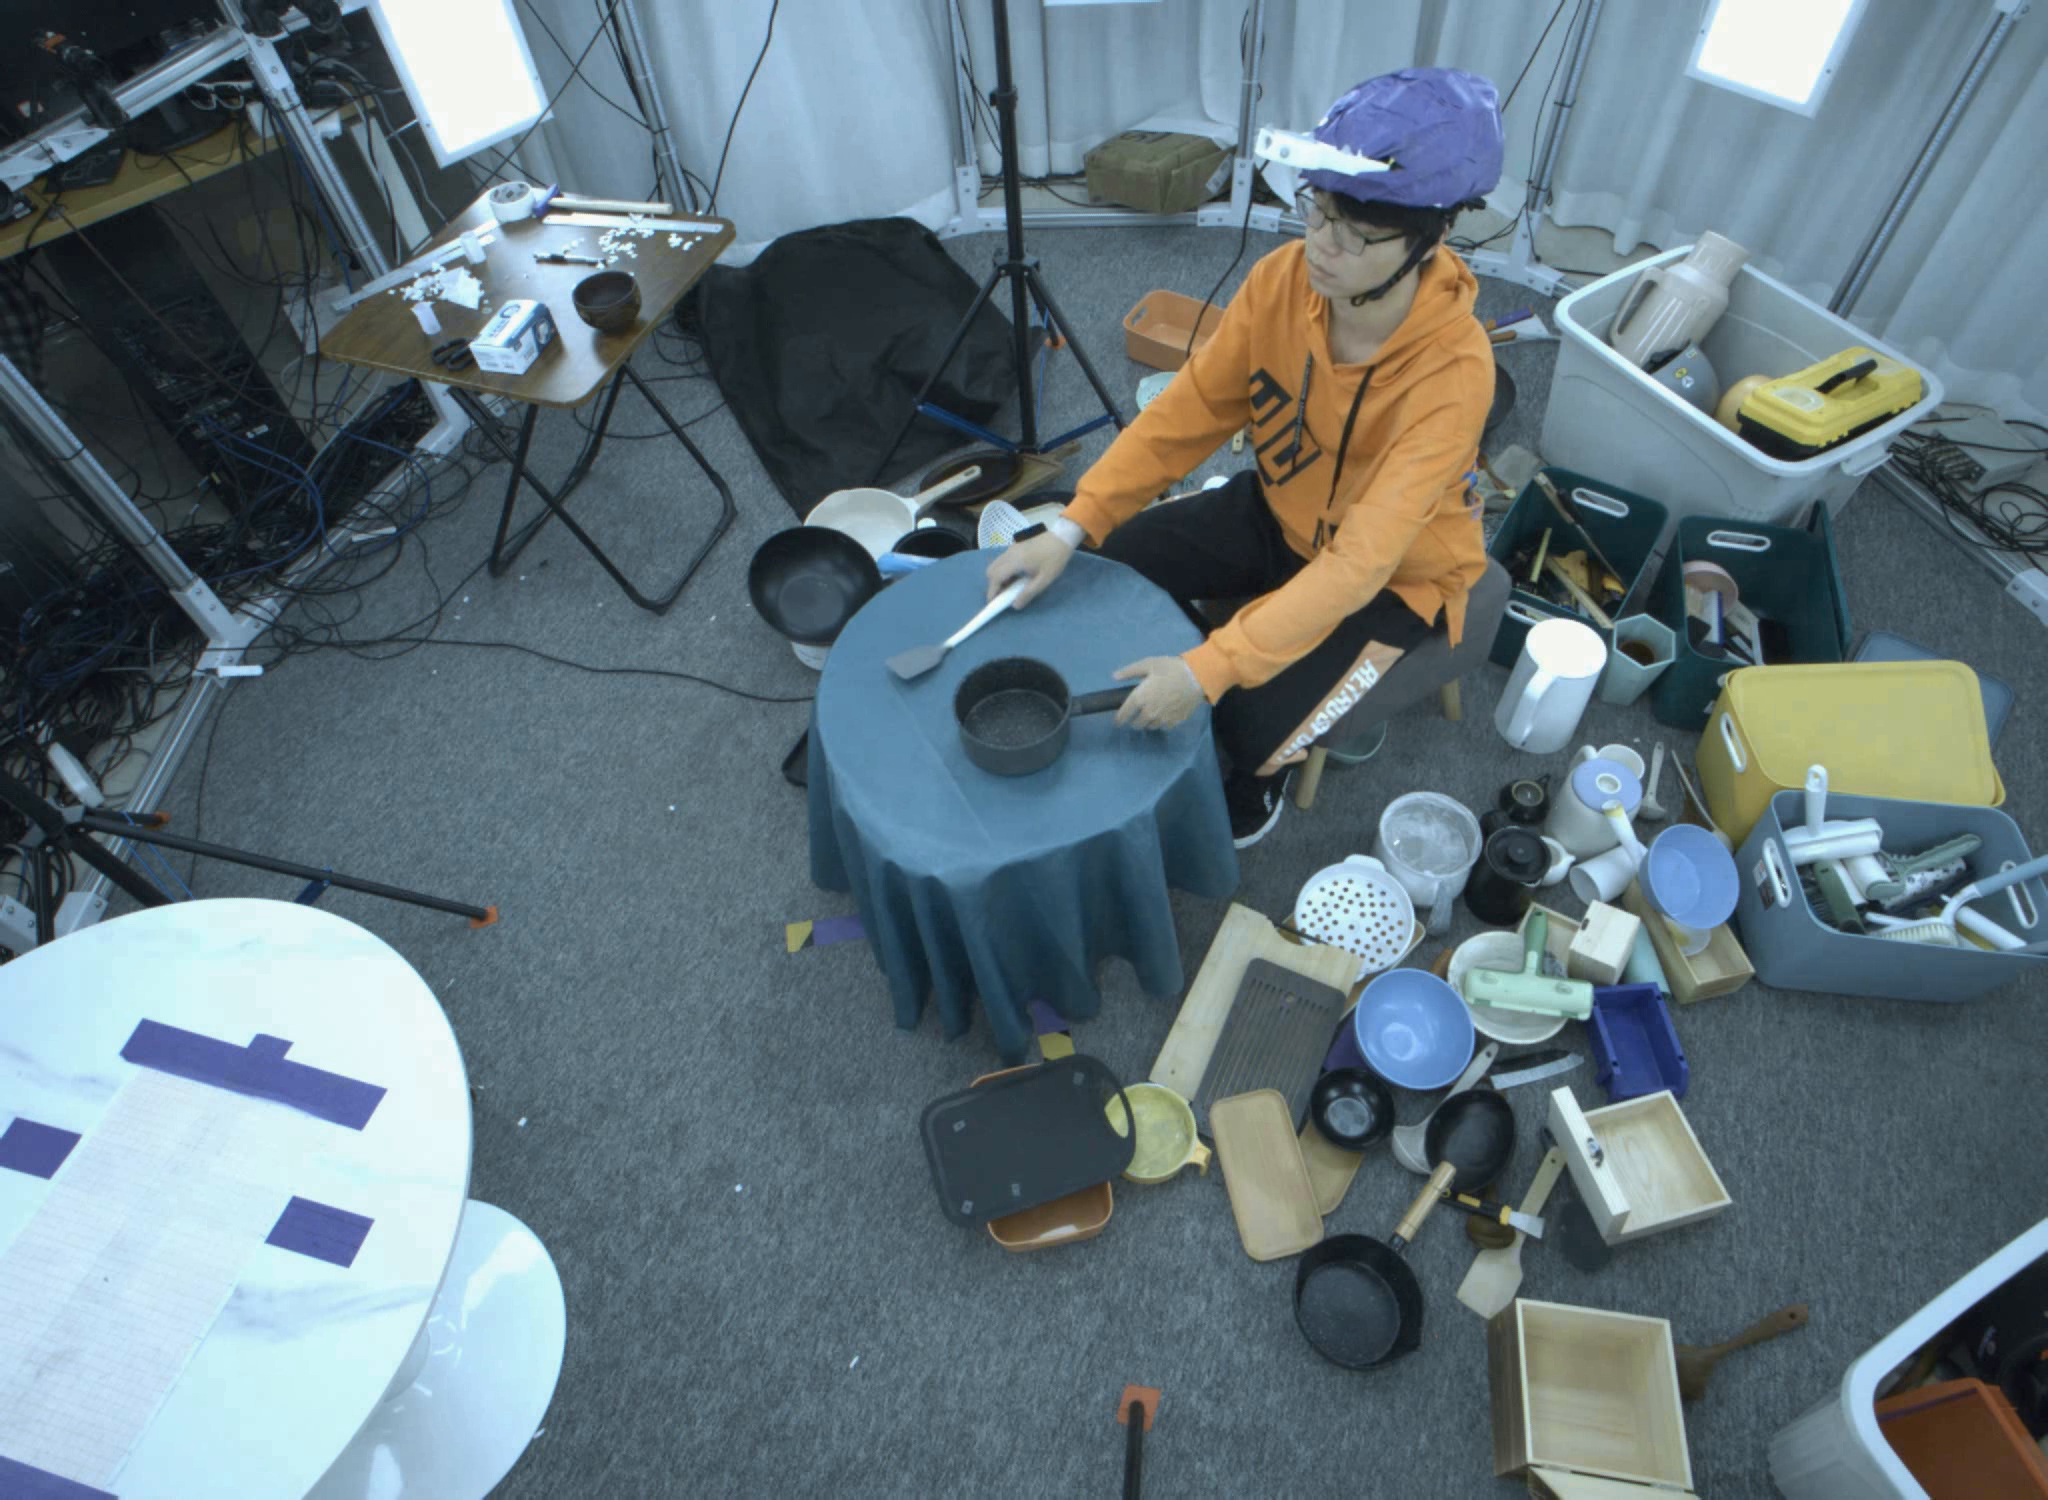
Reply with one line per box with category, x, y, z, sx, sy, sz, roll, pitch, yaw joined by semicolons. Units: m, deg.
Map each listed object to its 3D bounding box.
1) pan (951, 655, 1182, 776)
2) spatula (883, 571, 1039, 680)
pan;0.063;-0.054;1.771;0.328;0.087;0.170;-3;55;2
spatula;-0.093;-0.193;1.907;0.290;0.032;0.057;-37;64;-22
